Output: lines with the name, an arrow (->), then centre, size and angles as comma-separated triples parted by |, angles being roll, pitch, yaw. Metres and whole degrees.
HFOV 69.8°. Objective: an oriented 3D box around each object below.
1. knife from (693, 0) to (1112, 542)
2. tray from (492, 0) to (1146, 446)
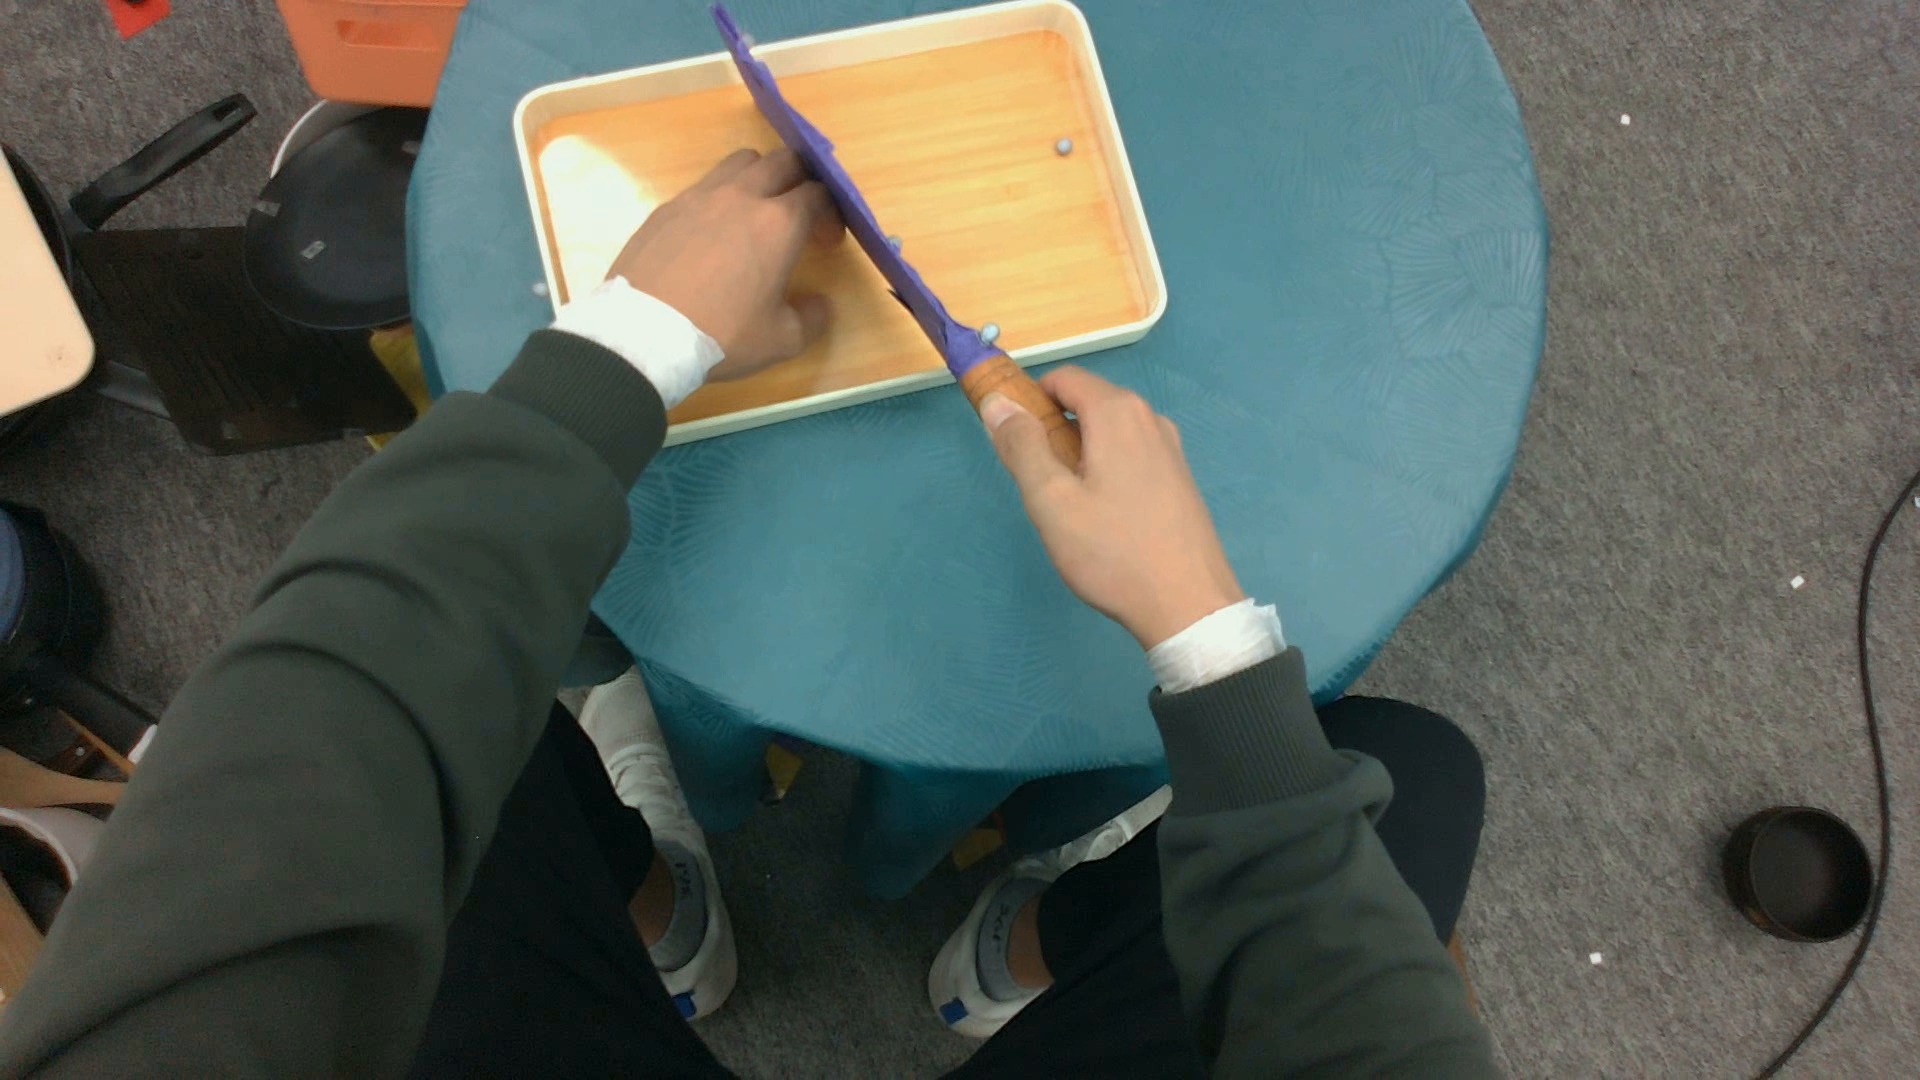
knife -> -0.030, -0.127, 0.641 | 0.032, 0.104, 0.315 | -34, 77, -1
tray -> -0.069, -0.169, 0.705 | 0.300, 0.027, 0.192 | -14, 80, -10
